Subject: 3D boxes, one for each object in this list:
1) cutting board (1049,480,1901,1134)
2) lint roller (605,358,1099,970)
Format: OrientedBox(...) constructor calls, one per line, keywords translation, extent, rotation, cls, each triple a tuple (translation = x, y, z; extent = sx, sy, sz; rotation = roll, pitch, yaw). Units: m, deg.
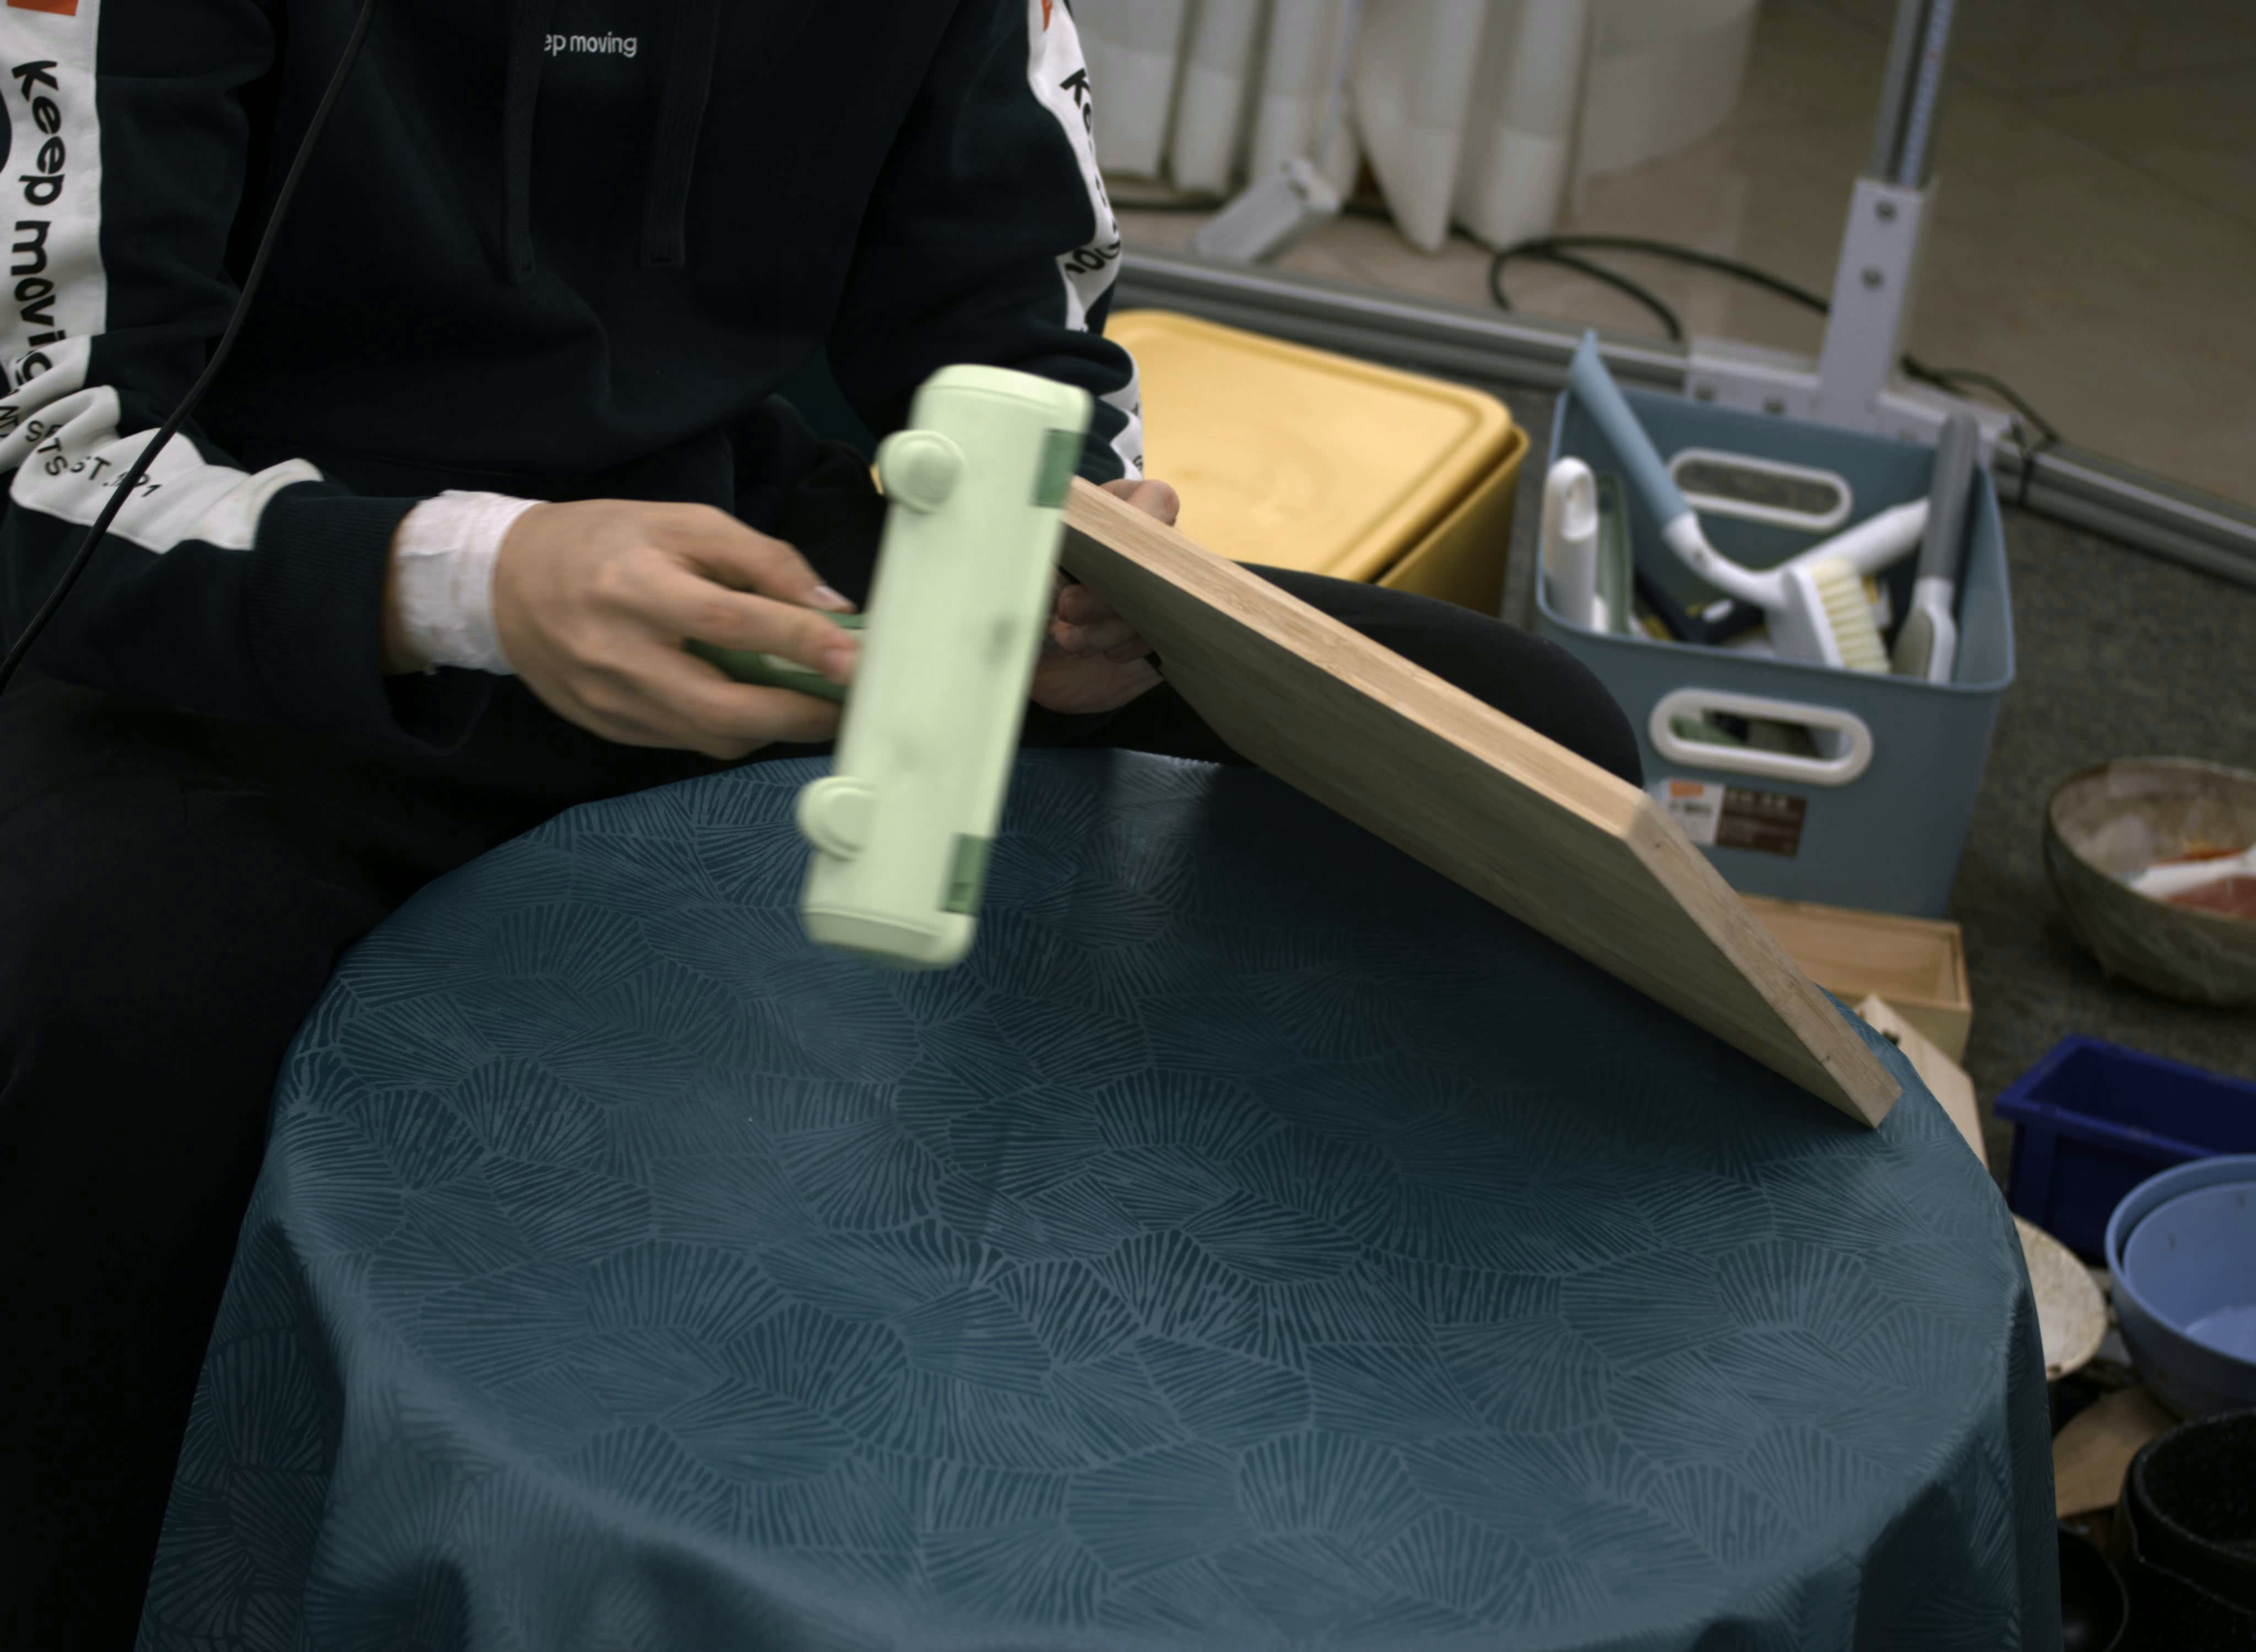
OrientedBox(translation=(0.101, -0.019, 1.909), extent=(0.351, 0.023, 0.248), rotation=(32, -9, 39), cls="cutting board")
OrientedBox(translation=(-0.108, -0.061, 1.748), extent=(0.184, 0.199, 0.081), rotation=(8, -9, 26), cls="lint roller")
